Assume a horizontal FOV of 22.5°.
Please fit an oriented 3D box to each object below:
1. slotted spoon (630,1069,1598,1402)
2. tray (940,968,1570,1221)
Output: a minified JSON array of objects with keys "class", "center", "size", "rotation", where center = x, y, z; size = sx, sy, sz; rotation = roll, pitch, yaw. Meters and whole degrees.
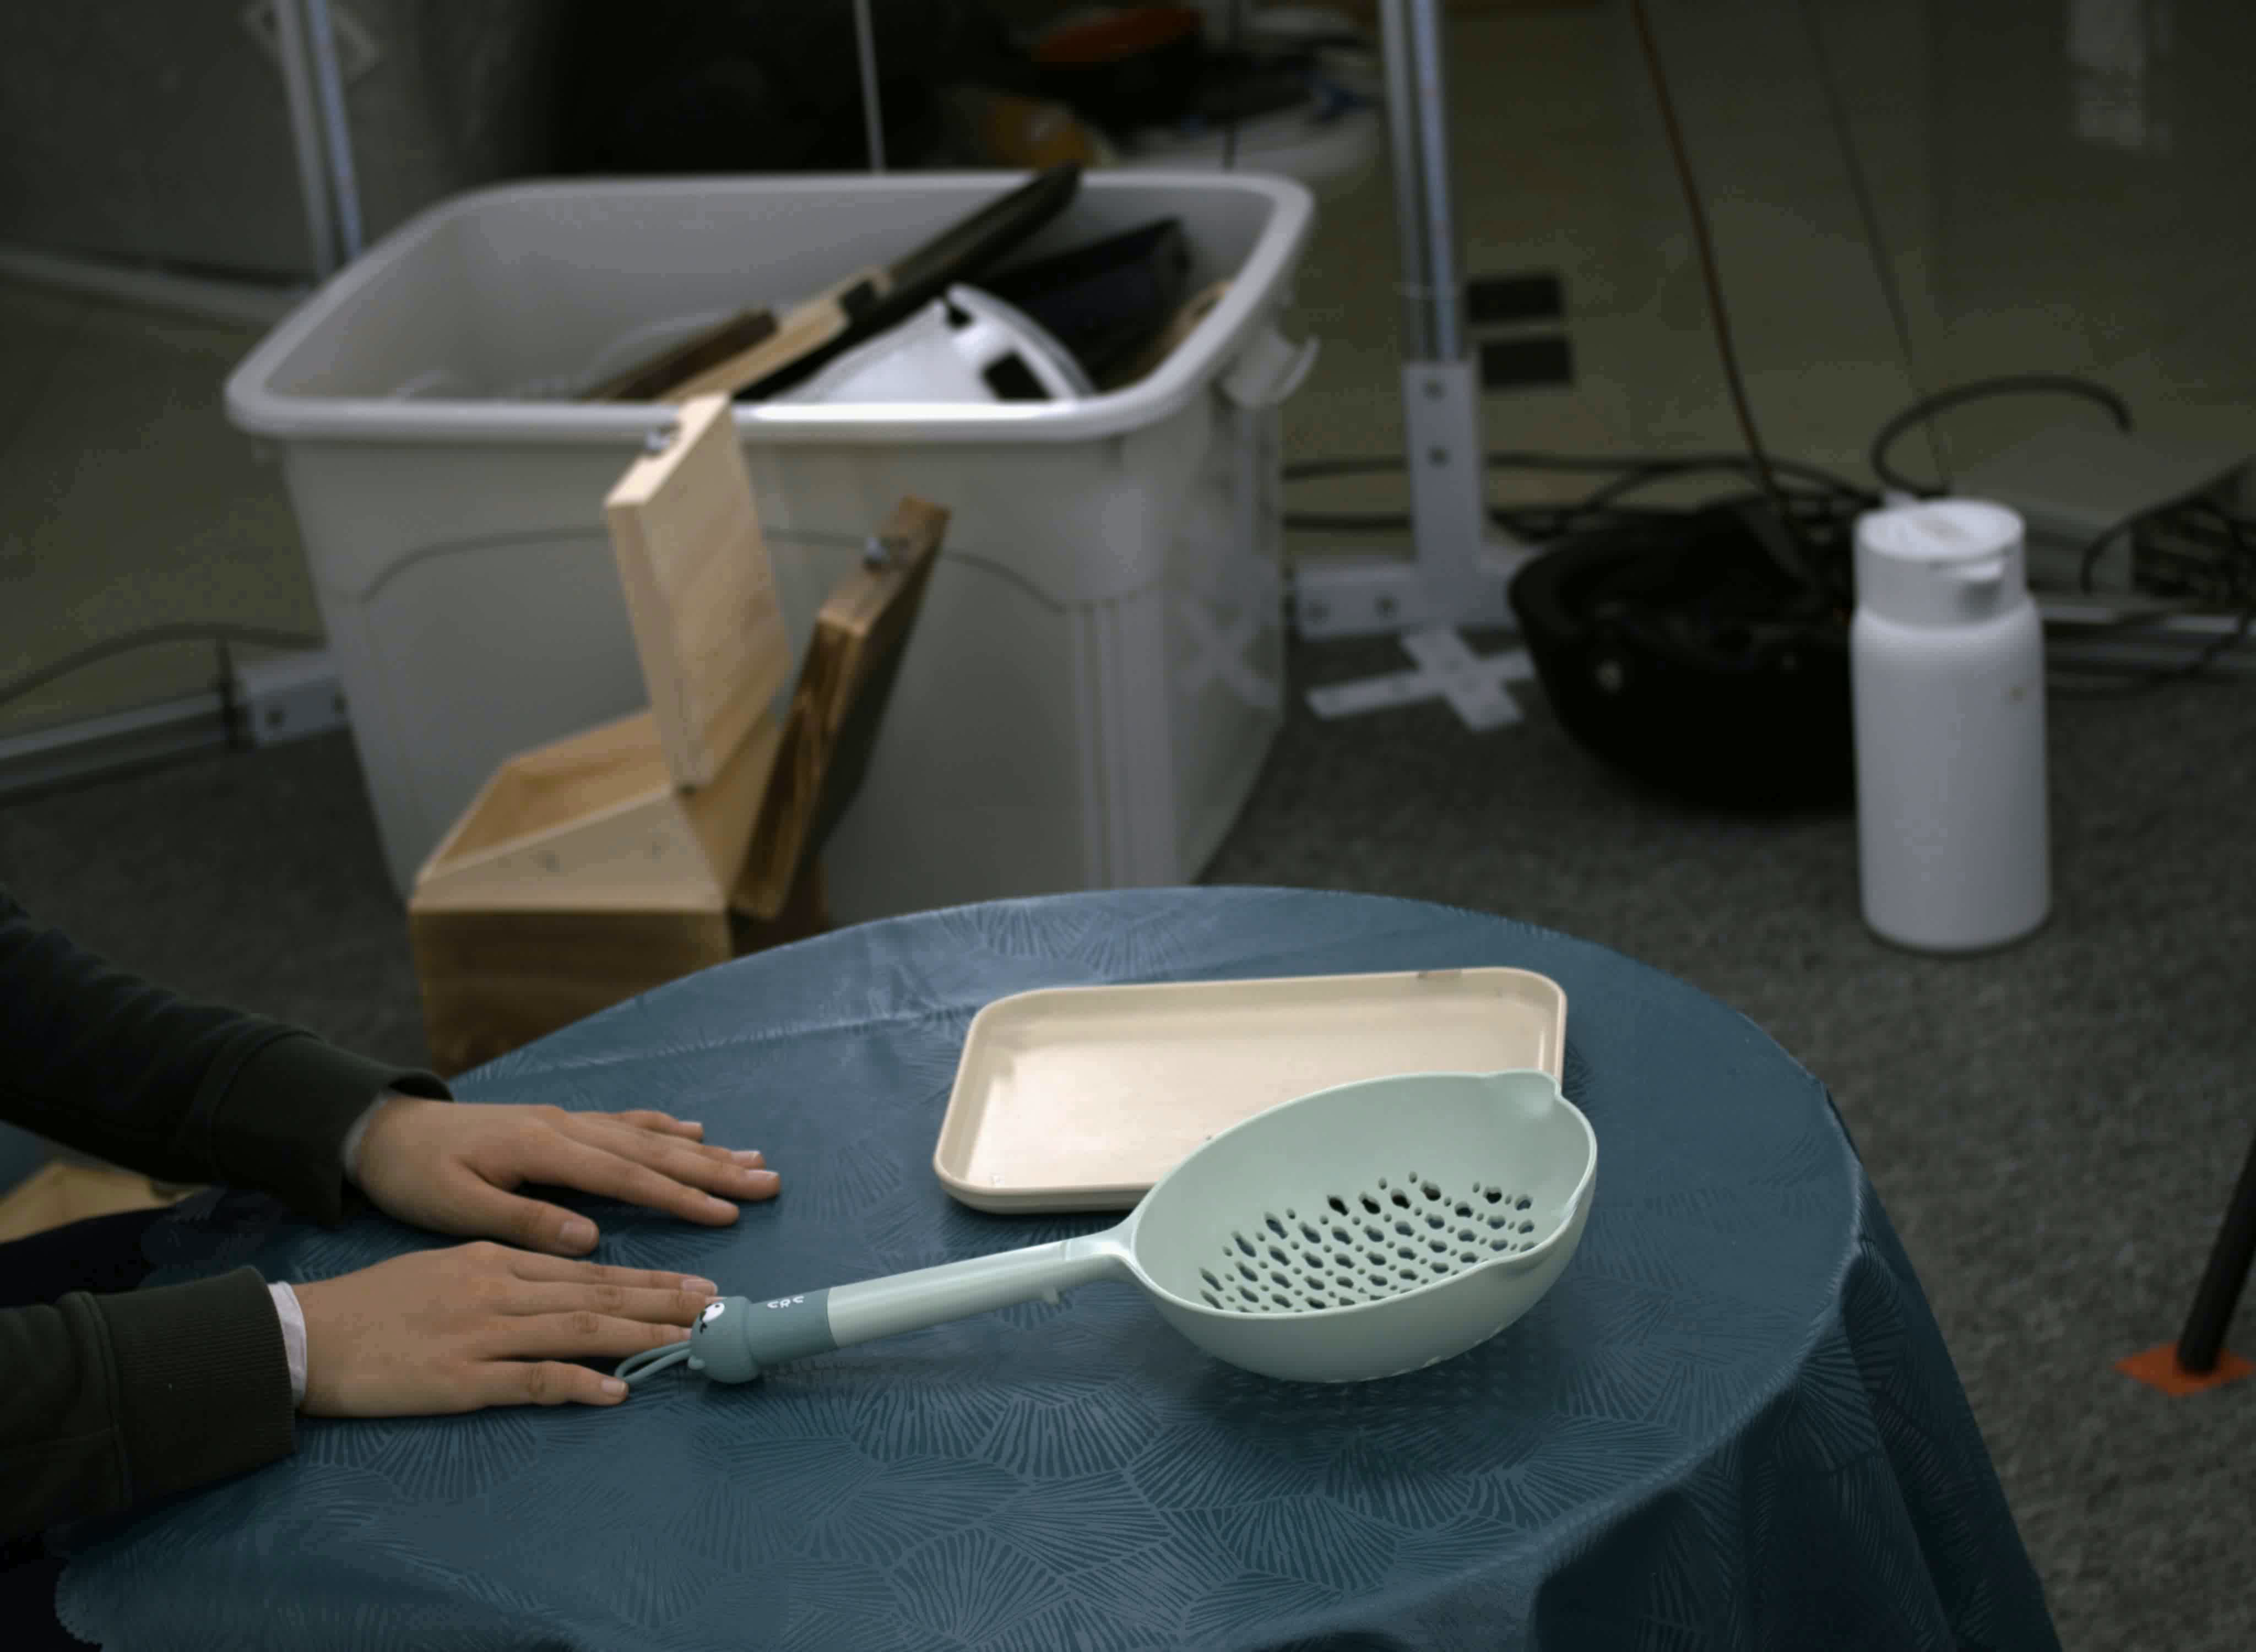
[{"class":"slotted spoon","center":[-0.008,0.161,2.033],"size":[0.358,0.076,0.167],"rotation":[-5,24,6]},{"class":"tray","center":[0.052,0.105,2.195],"size":[0.239,0.018,0.169],"rotation":[-4,25,8]}]
